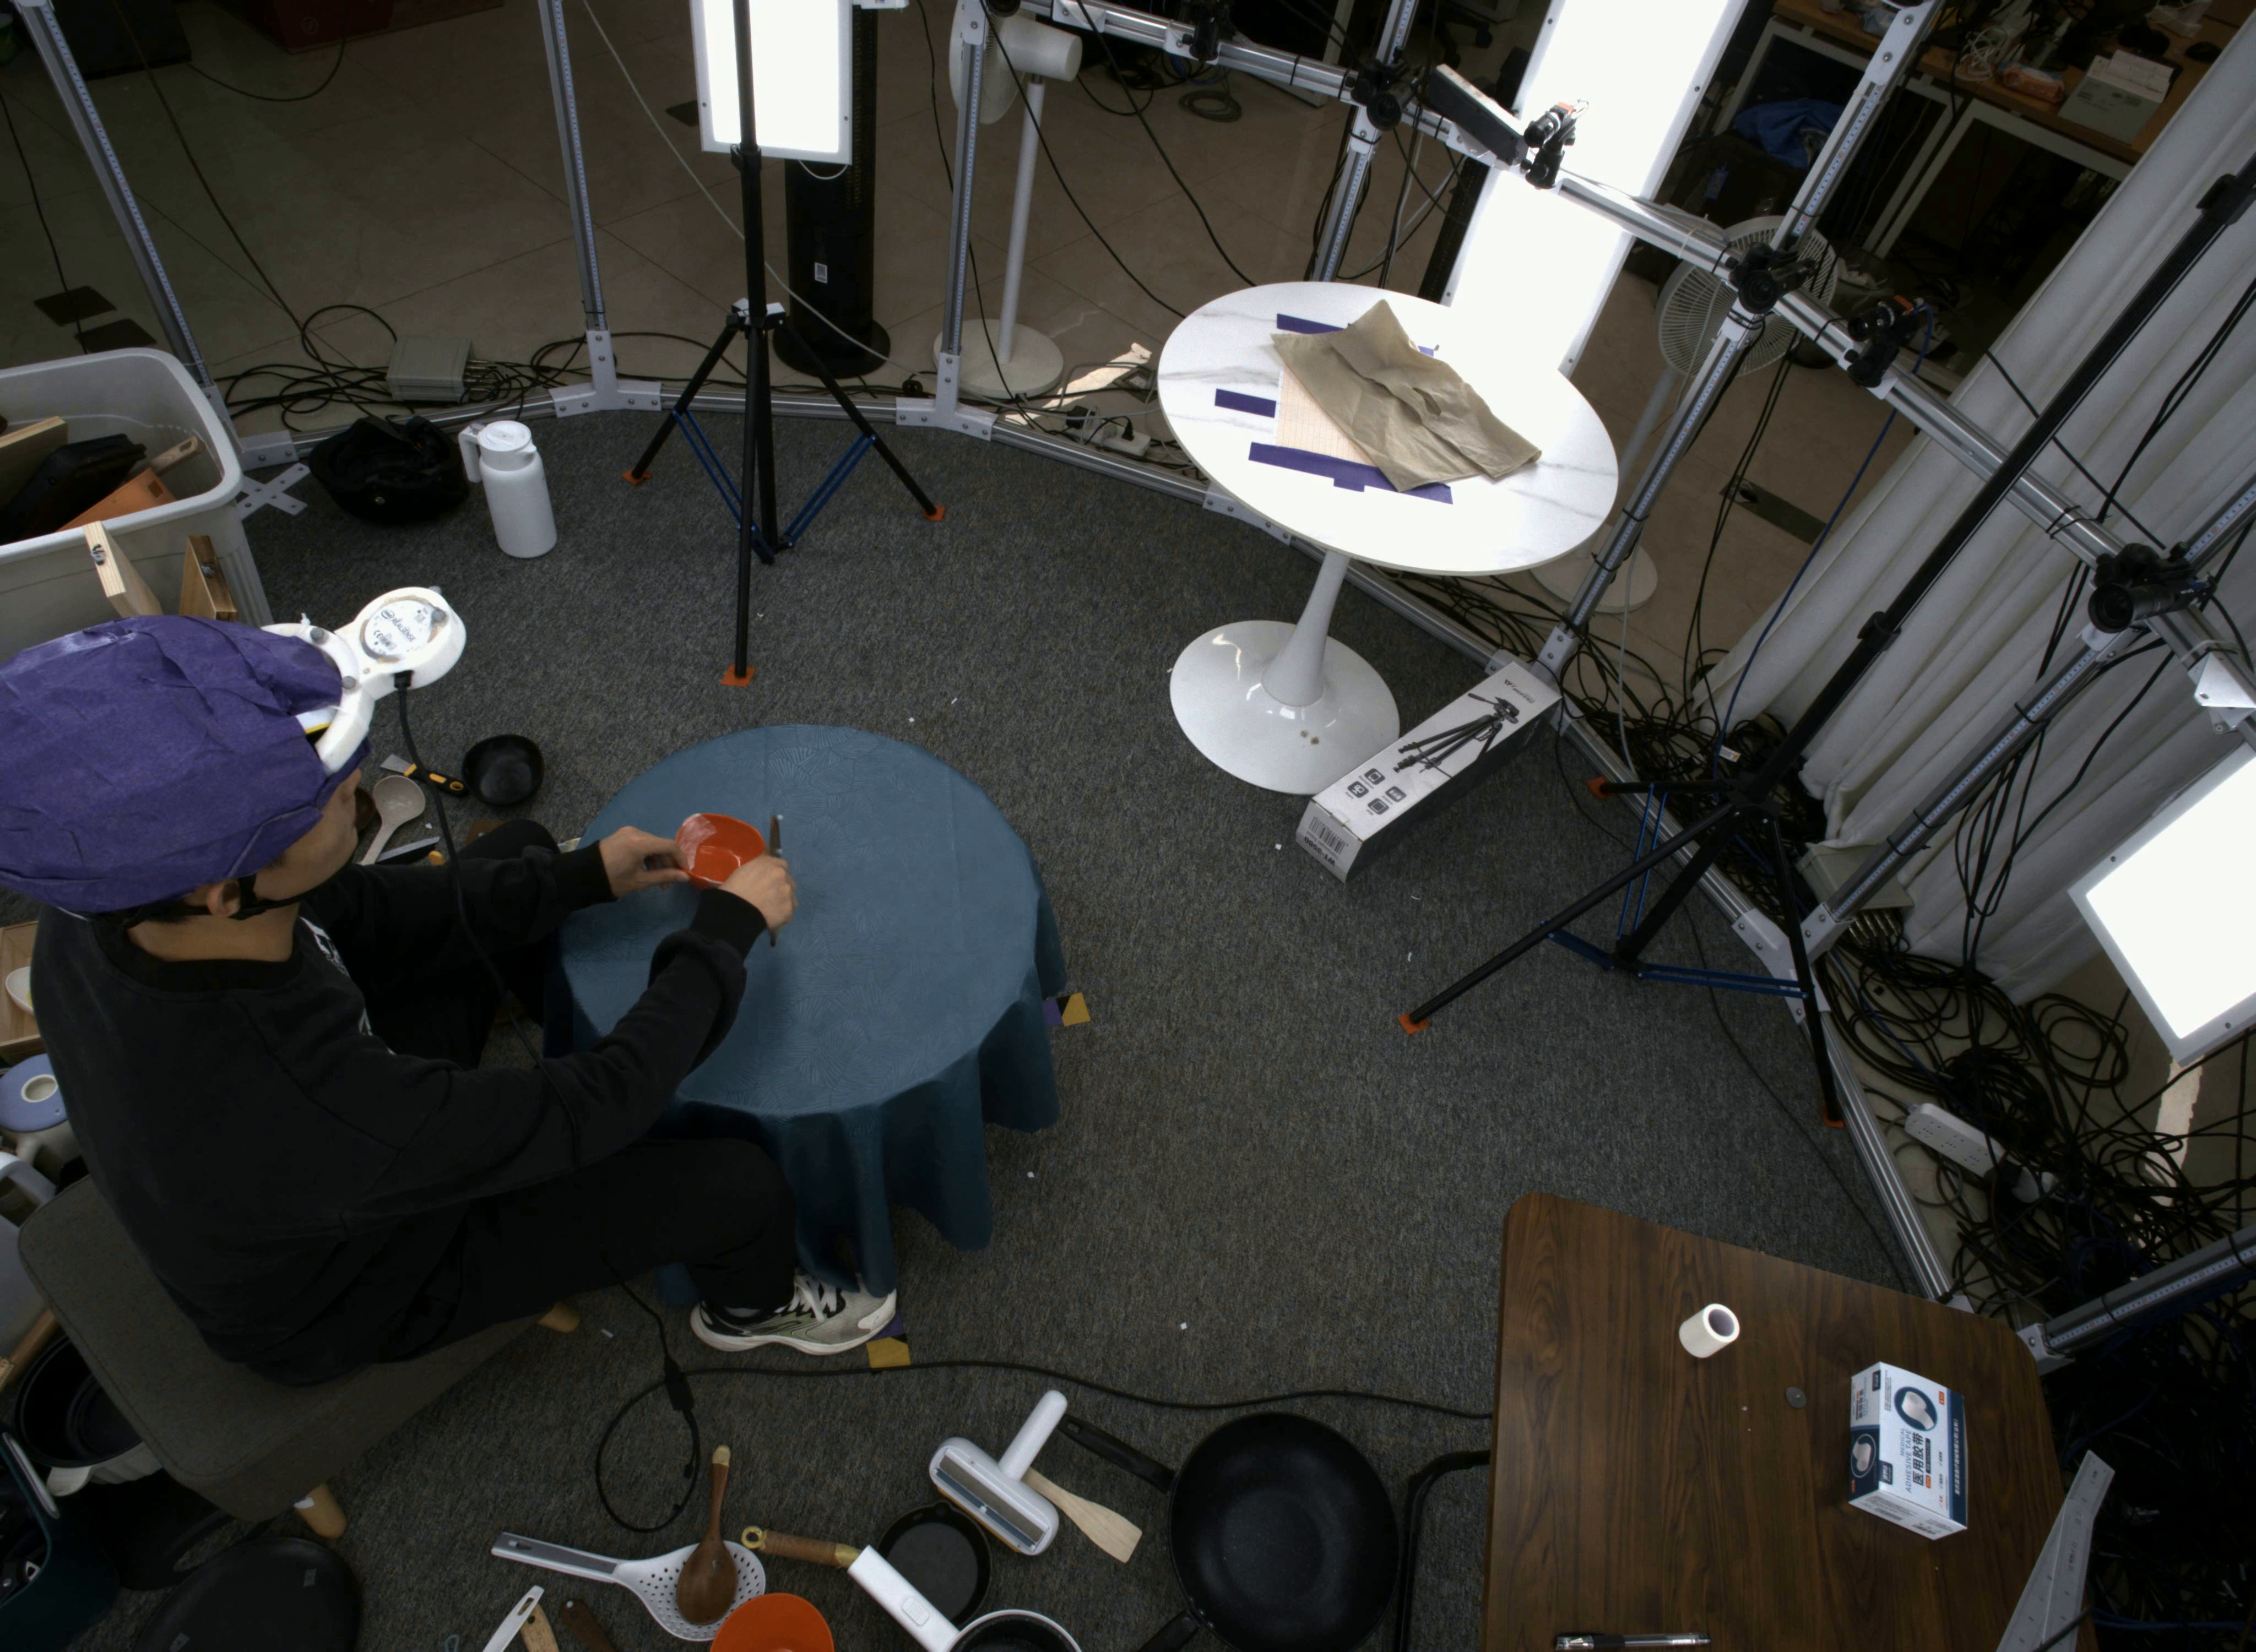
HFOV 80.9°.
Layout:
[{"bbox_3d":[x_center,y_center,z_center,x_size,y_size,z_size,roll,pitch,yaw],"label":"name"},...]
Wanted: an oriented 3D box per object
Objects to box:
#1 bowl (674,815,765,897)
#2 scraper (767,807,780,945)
[{"bbox_3d":[-0.519,0.044,1.629,0.120,0.052,0.116,19,45,-18],"label":"bowl"},{"bbox_3d":[-0.423,0.063,1.541,0.011,0.078,0.205,-4,39,-12],"label":"scraper"}]
